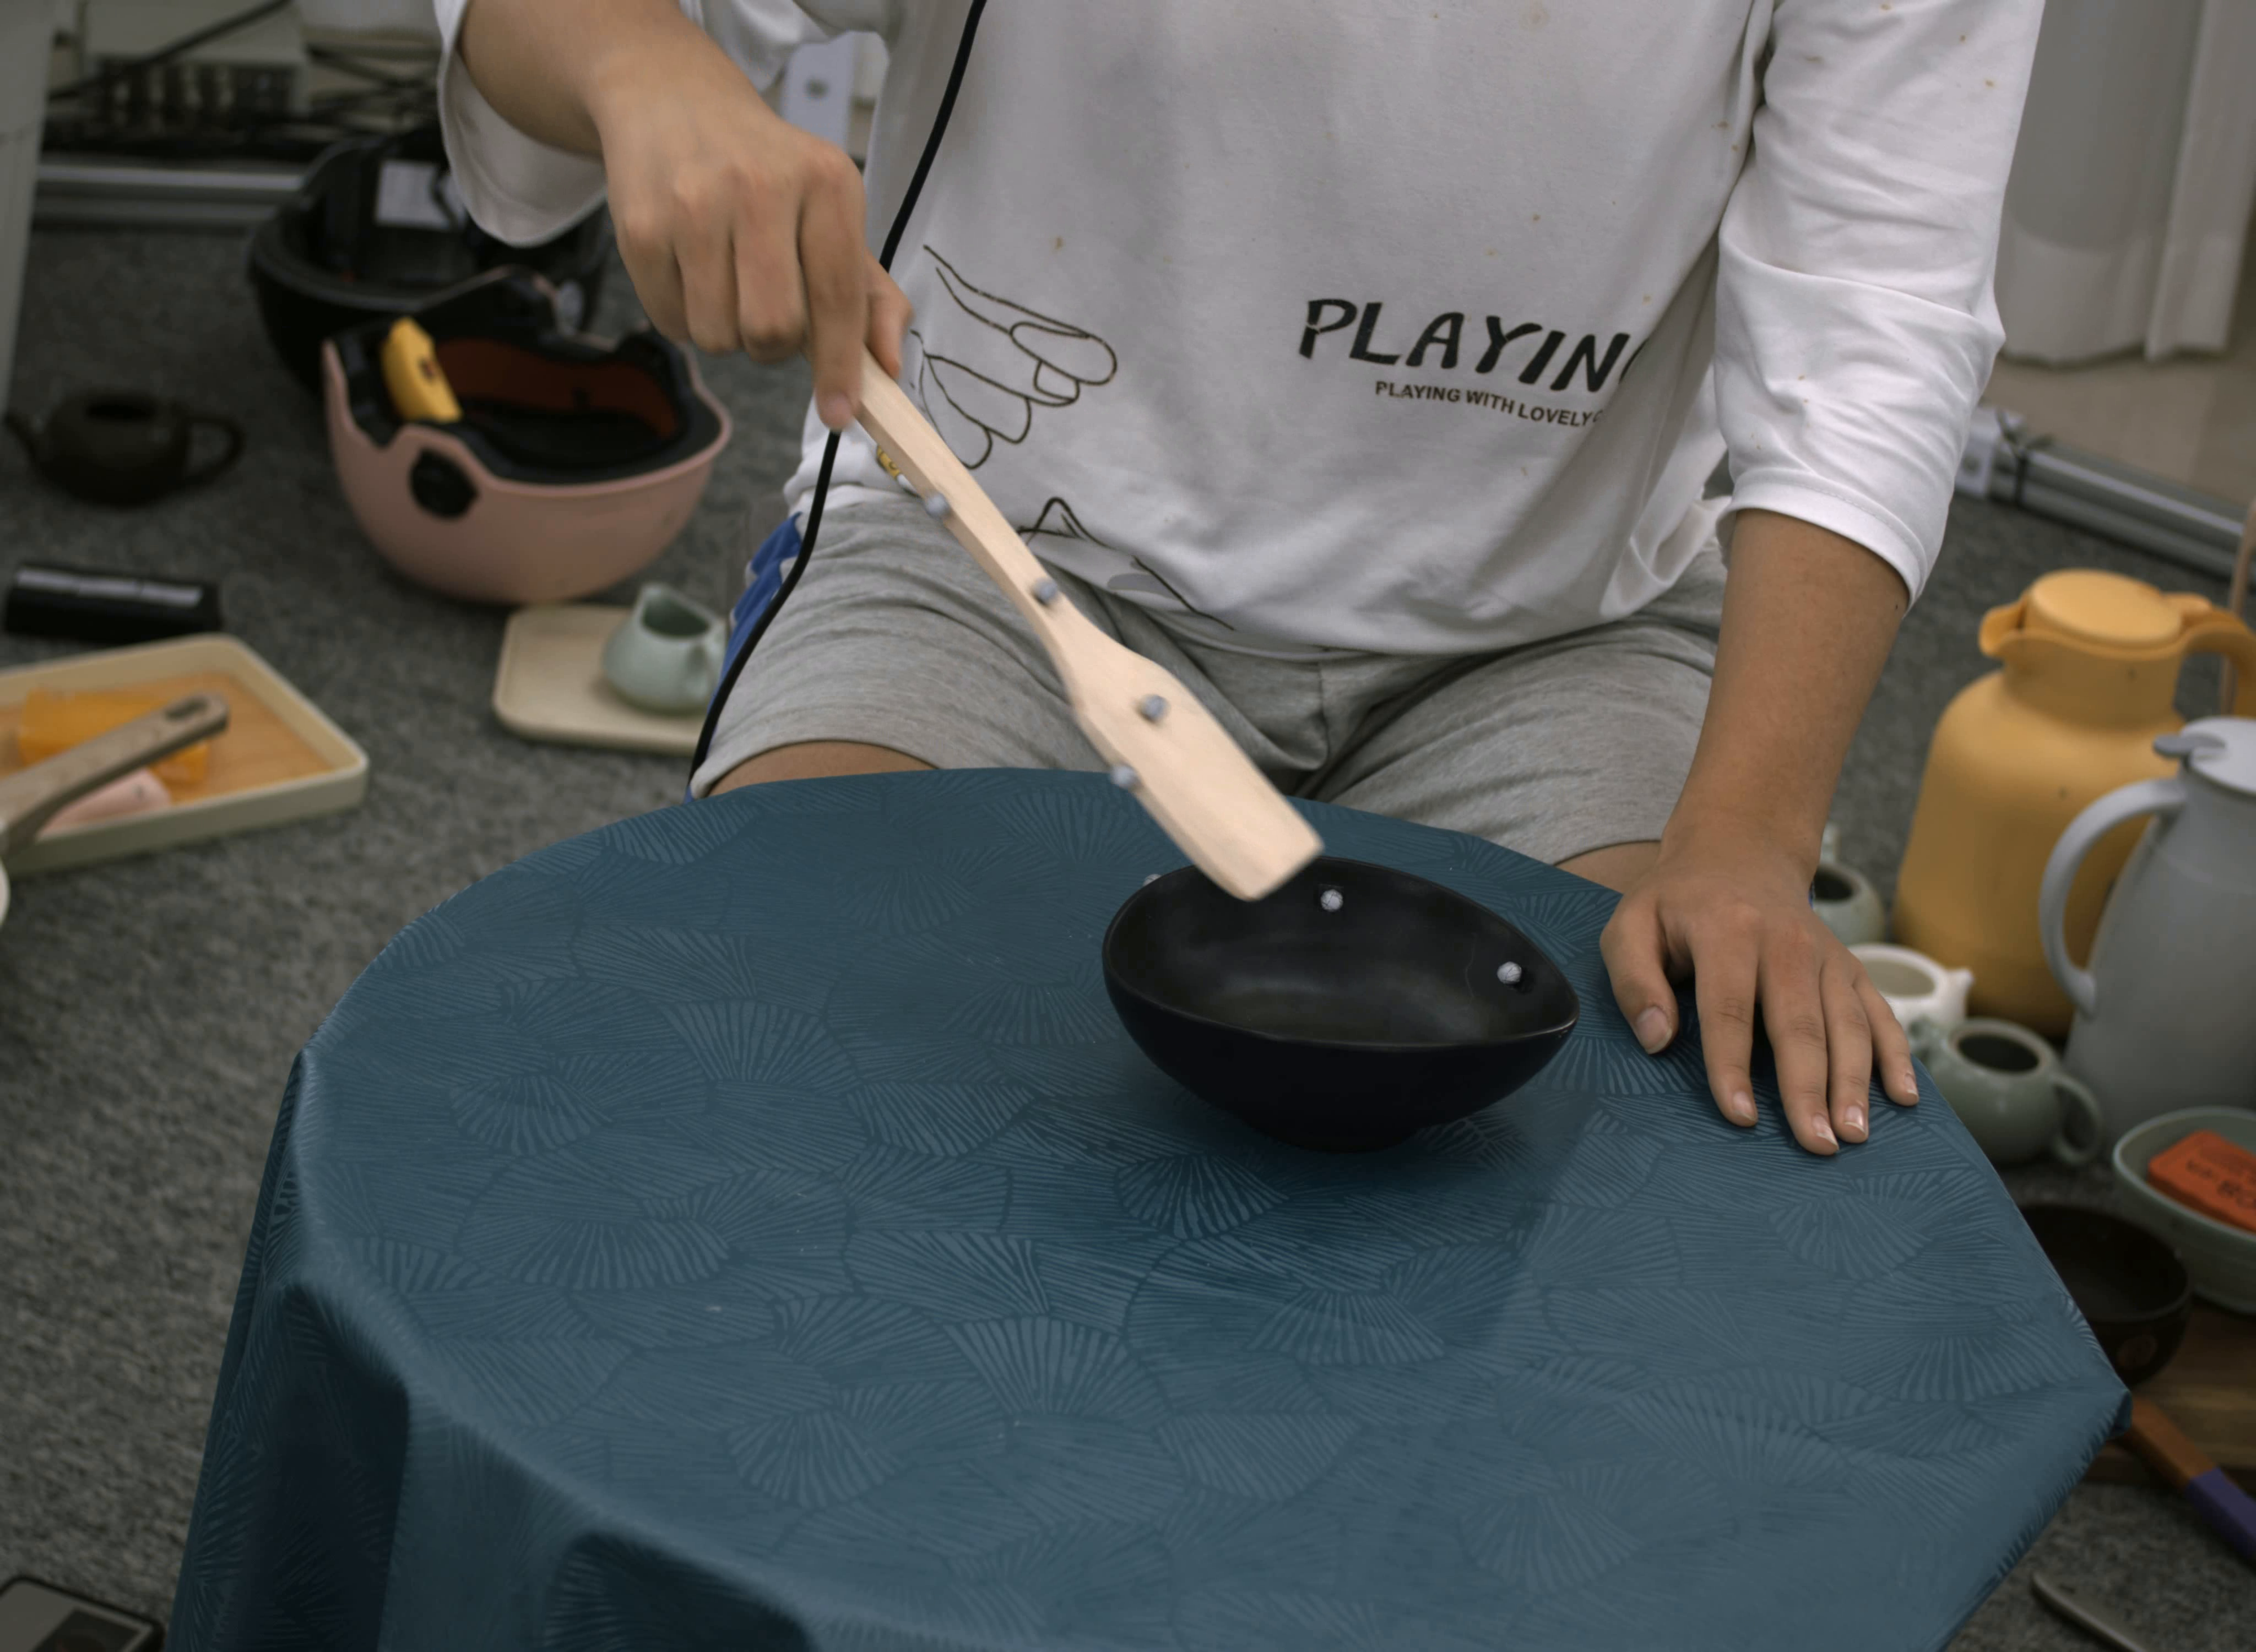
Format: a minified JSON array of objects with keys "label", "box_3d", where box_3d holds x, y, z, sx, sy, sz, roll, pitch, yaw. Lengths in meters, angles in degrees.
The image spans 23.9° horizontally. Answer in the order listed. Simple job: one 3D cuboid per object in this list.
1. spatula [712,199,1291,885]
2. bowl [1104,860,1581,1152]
[{"label":"spatula","box_3d":[-0.049,-0.100,1.822,0.293,0.010,0.072,51,29,3]},{"label":"bowl","box_3d":[0.072,0.070,1.860,0.169,0.066,0.138,3,26,-12]}]
